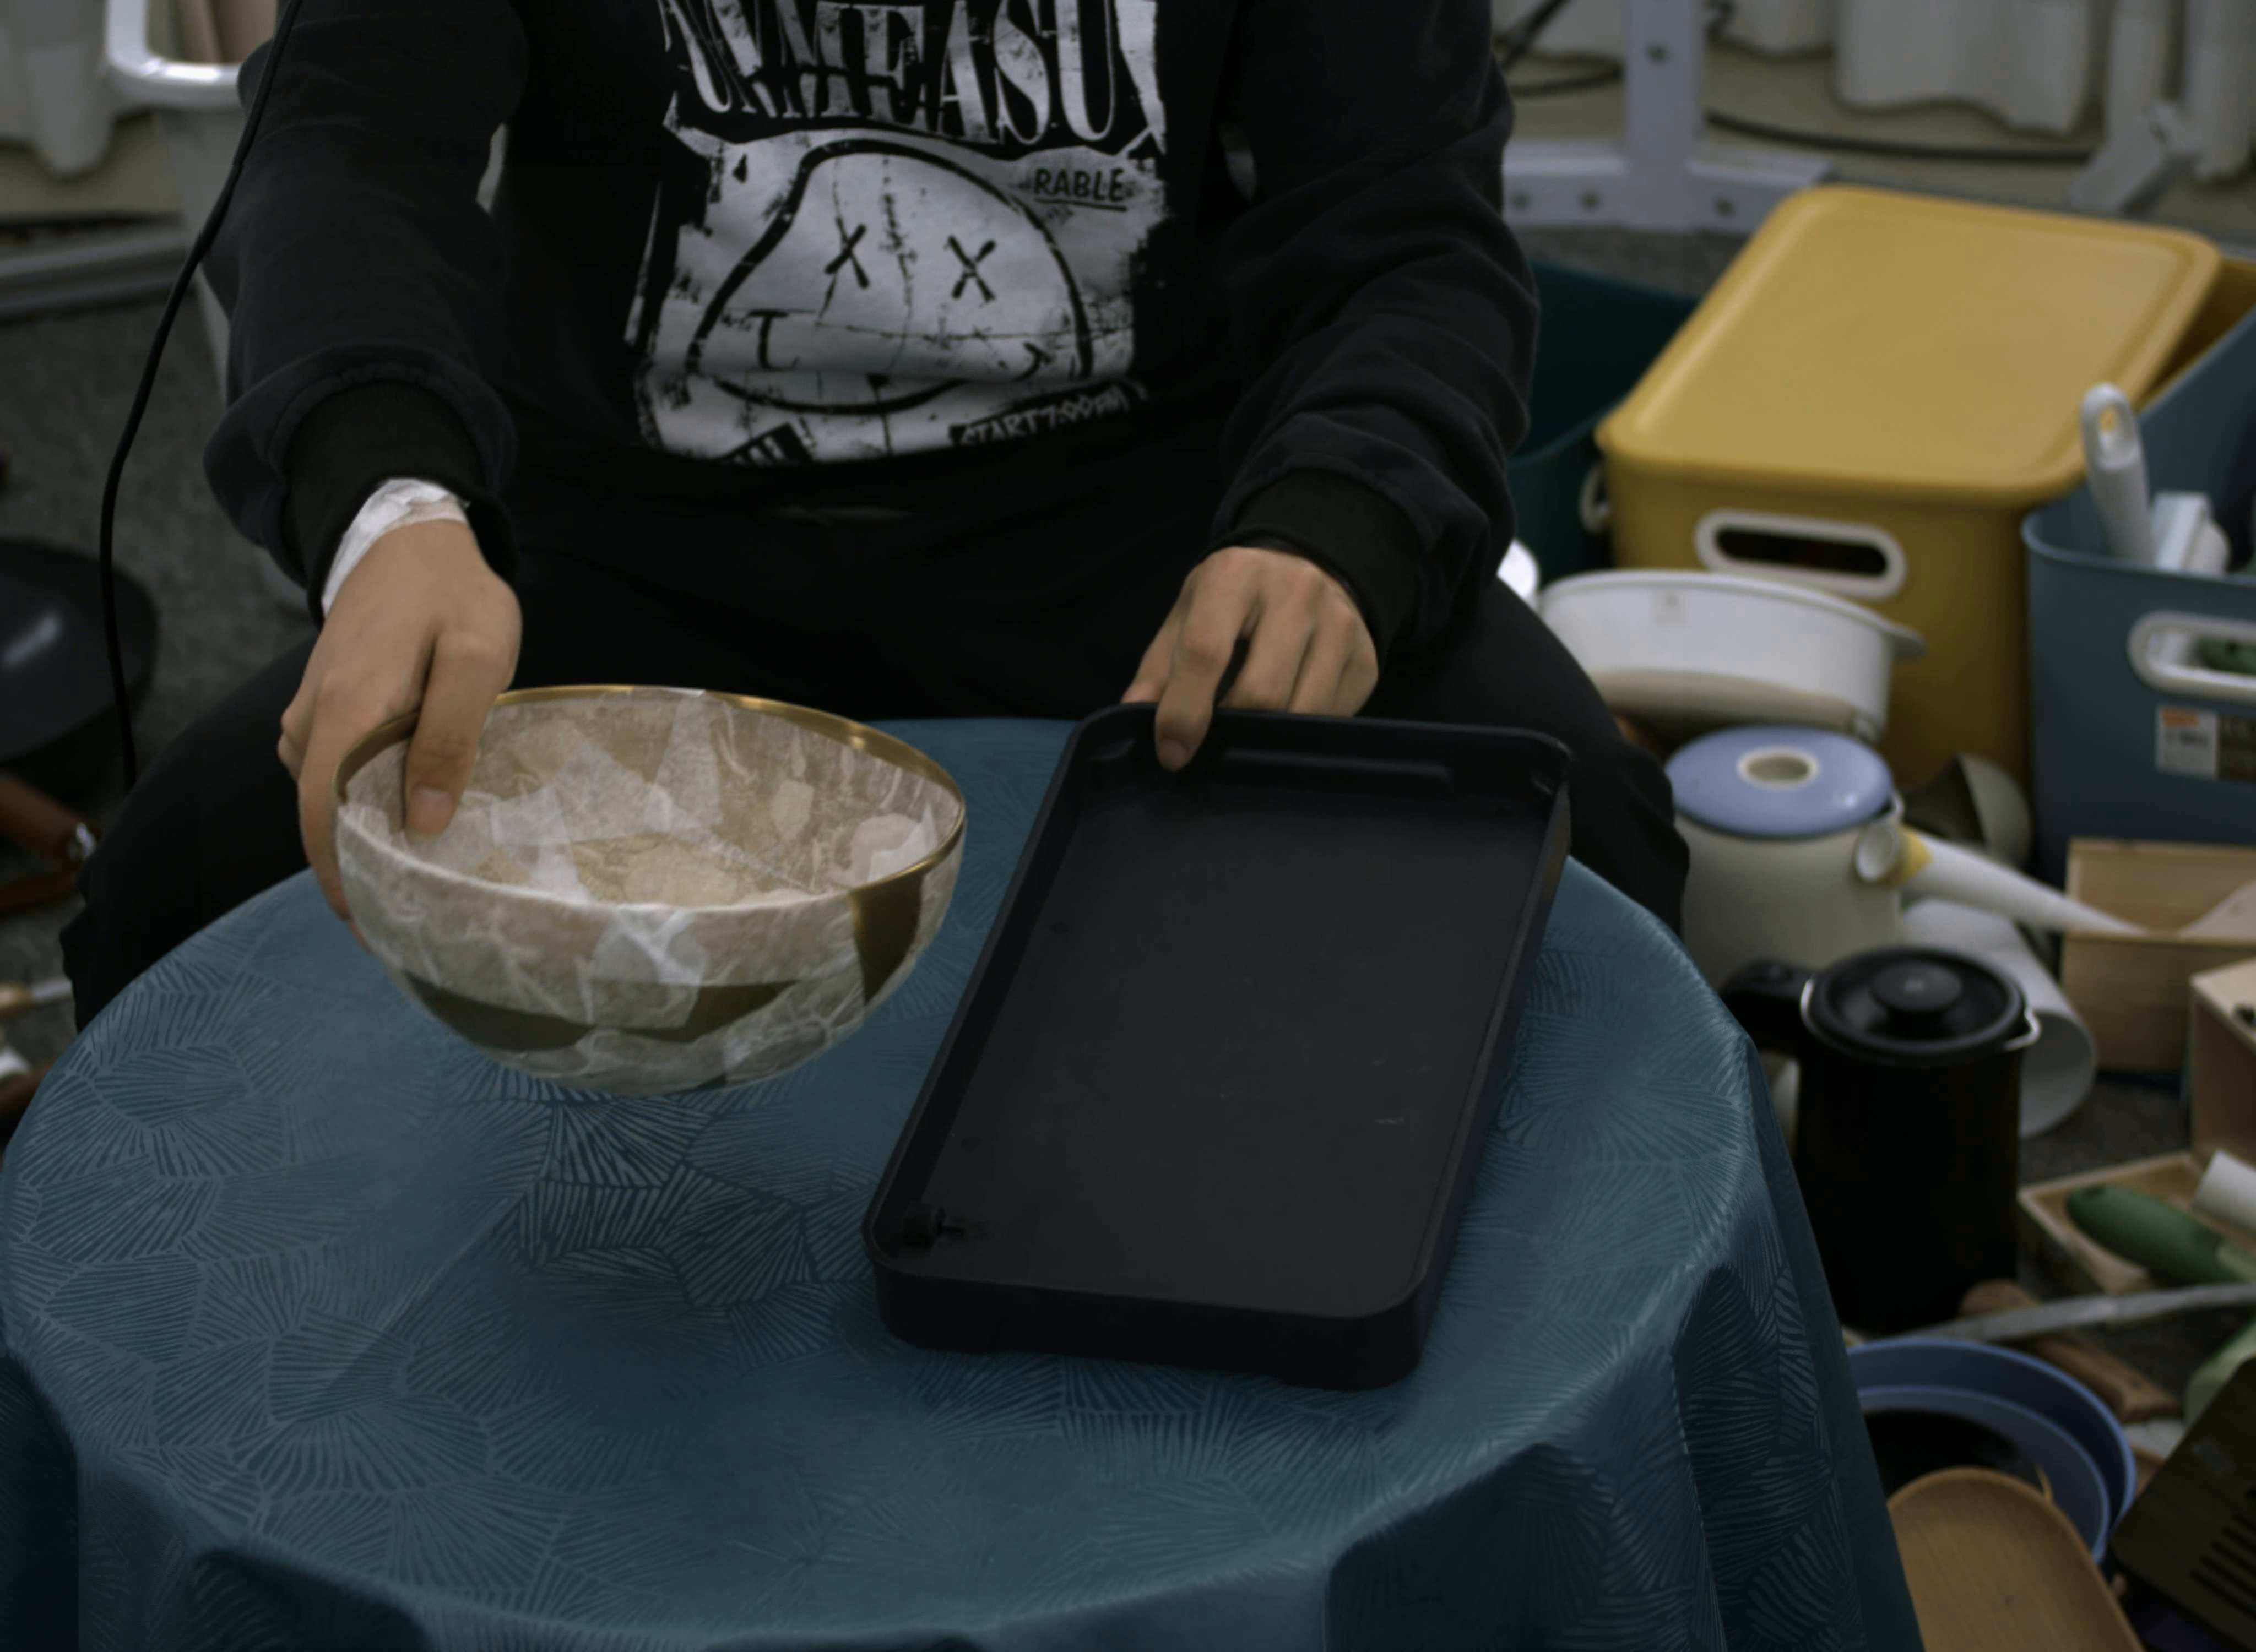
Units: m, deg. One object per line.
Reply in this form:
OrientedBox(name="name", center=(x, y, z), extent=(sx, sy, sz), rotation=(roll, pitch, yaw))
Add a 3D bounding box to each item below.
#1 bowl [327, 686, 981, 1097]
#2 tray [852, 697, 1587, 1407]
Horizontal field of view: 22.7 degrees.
OrientedBox(name="bowl", center=(-0.150, 0.030, 1.780), extent=(0.214, 0.094, 0.217), rotation=(3, 19, -1))
OrientedBox(name="tray", center=(0.037, 0.068, 1.880), extent=(0.183, 0.036, 0.324), rotation=(6, 37, 14))
